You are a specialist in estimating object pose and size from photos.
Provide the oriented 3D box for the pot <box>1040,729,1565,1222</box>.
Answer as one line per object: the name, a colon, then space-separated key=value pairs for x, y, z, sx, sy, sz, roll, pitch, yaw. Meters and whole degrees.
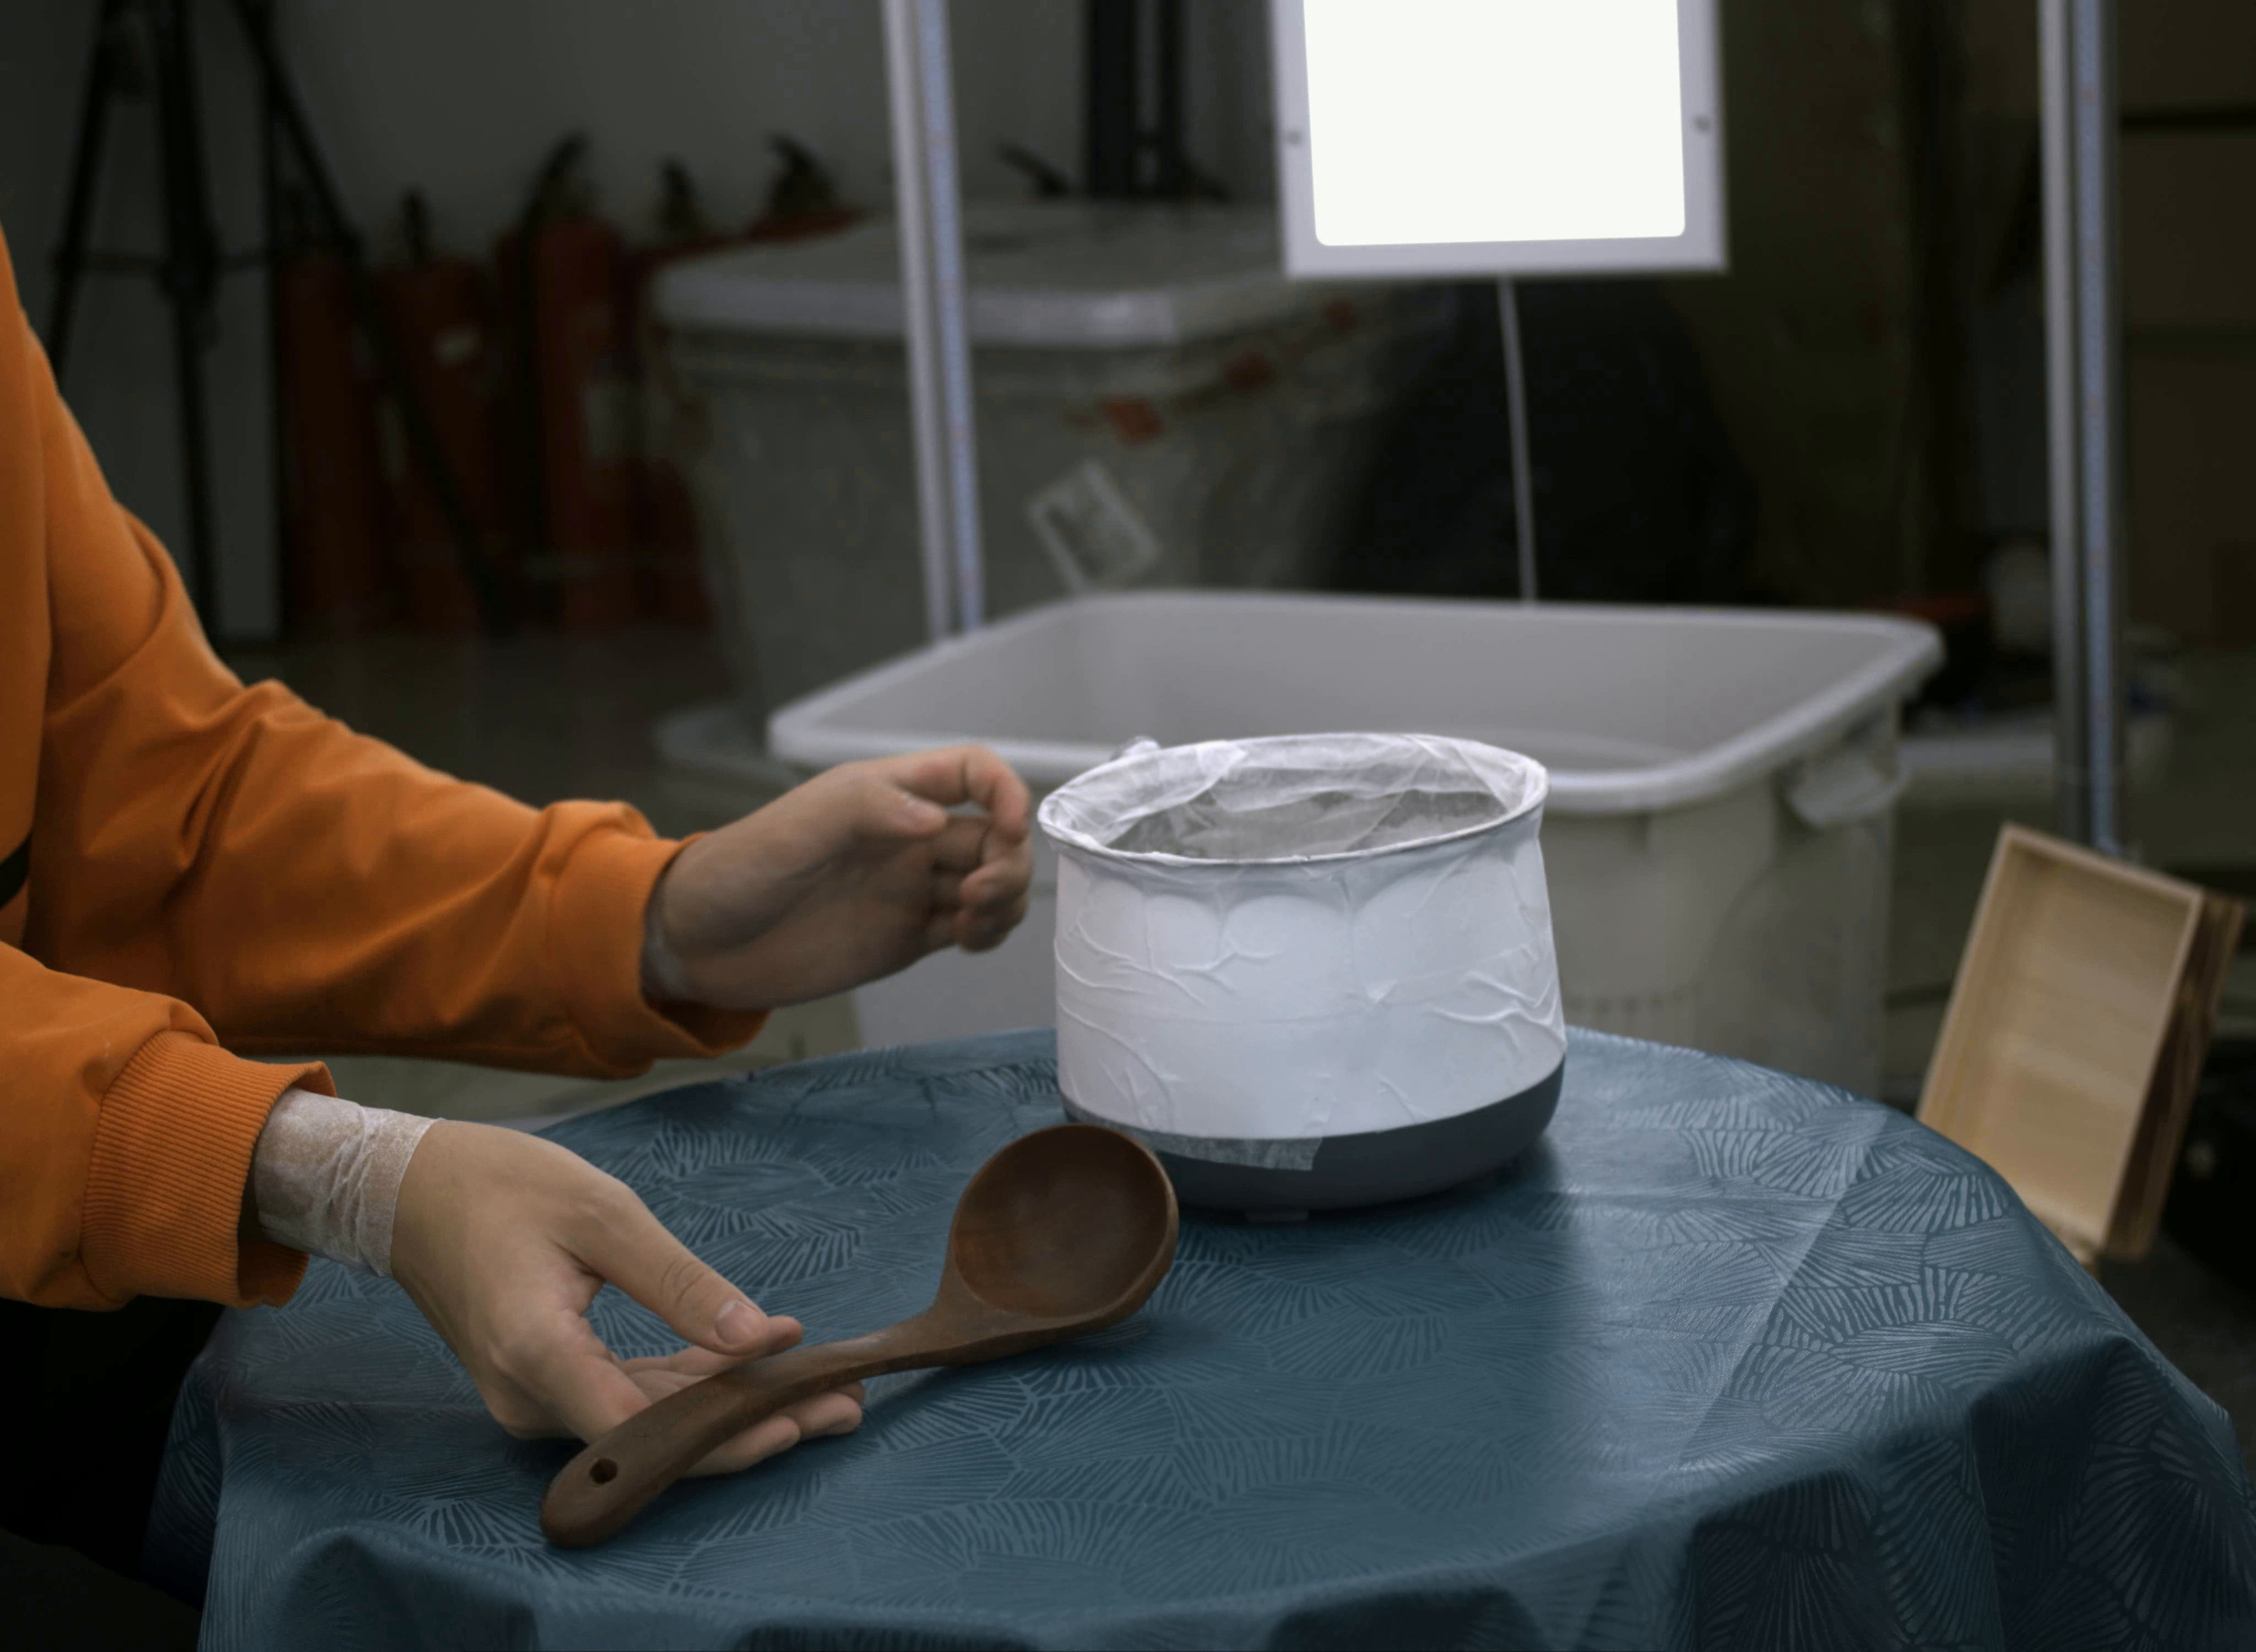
pot: x=0.046 y=0.045 z=1.921 sx=0.174 sy=0.137 sz=0.238 roll=-13 pitch=16 yaw=-30

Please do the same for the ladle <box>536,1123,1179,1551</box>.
ladle: x=-0.082 y=0.153 z=1.687 sx=0.078 sy=0.065 sz=0.253 roll=24 pitch=28 yaw=36
